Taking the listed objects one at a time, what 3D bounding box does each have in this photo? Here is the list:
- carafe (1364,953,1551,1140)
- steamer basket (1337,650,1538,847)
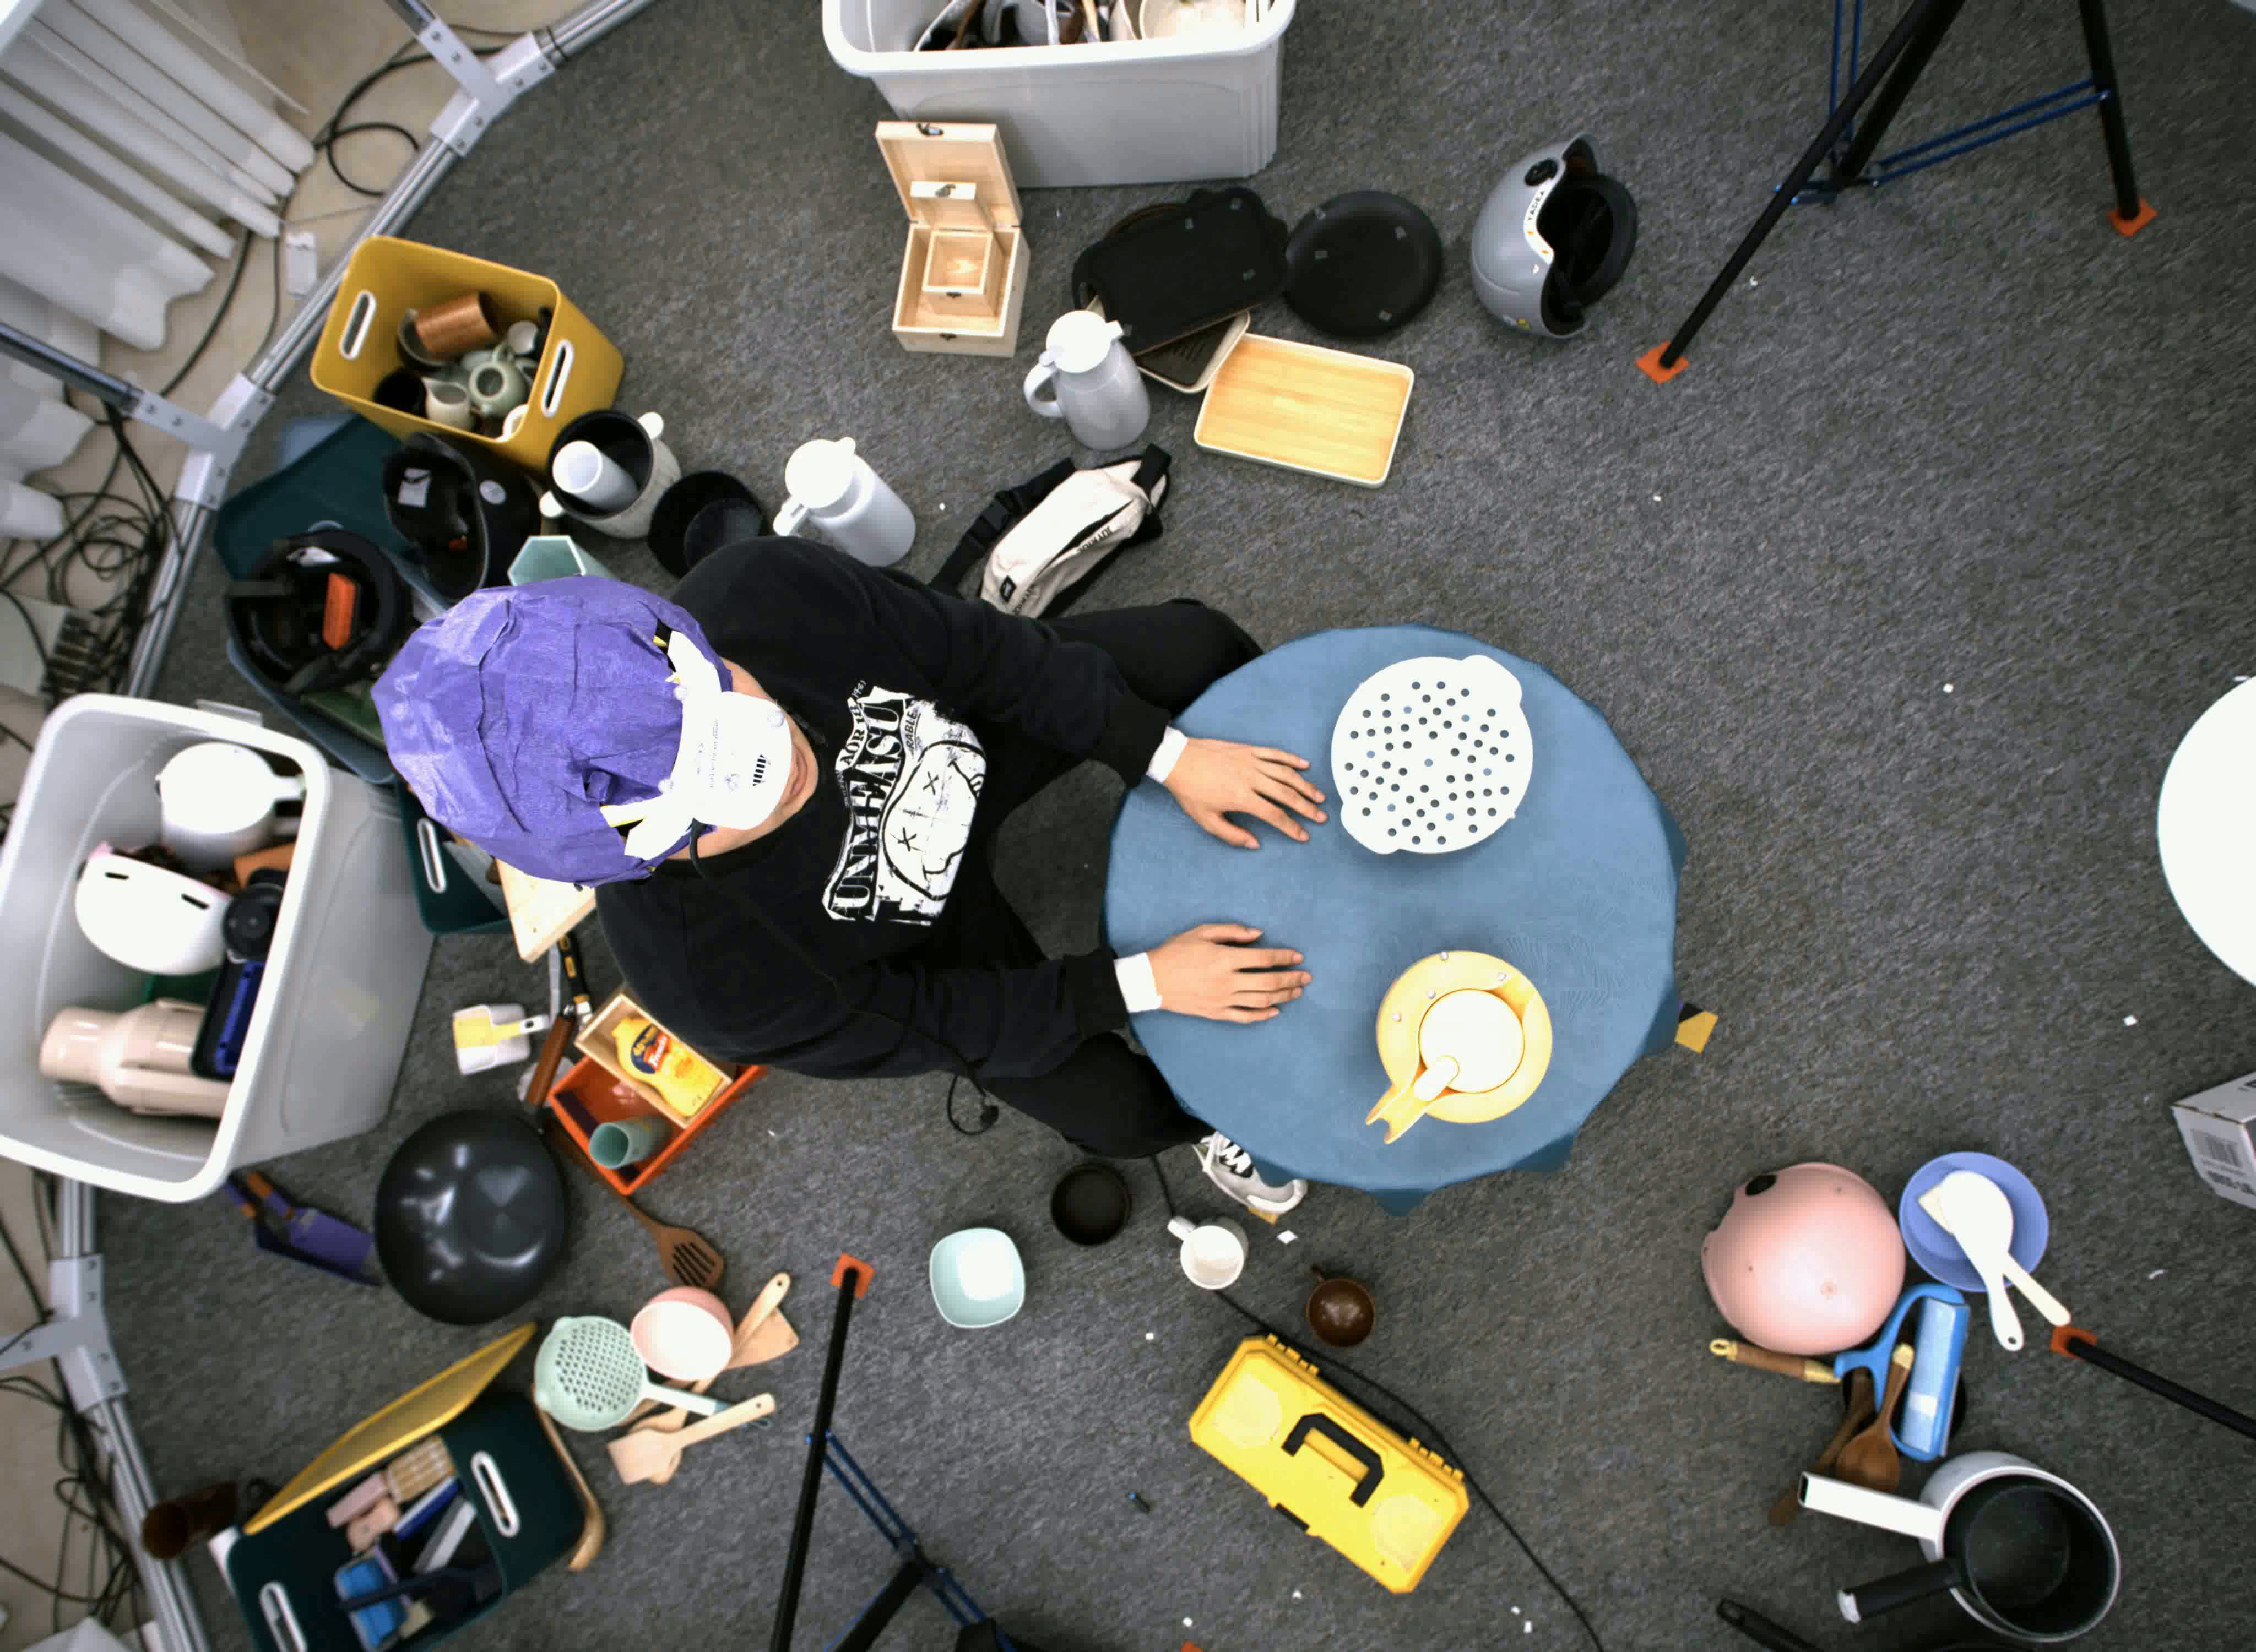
[{"bbox_3d":[0.303,0.212,1.314,0.203,0.261,0.162,-44,77,3],"label":"carafe"},{"bbox_3d":[0.315,-0.079,1.415,0.201,0.069,0.229,41,85,7],"label":"steamer basket"}]
